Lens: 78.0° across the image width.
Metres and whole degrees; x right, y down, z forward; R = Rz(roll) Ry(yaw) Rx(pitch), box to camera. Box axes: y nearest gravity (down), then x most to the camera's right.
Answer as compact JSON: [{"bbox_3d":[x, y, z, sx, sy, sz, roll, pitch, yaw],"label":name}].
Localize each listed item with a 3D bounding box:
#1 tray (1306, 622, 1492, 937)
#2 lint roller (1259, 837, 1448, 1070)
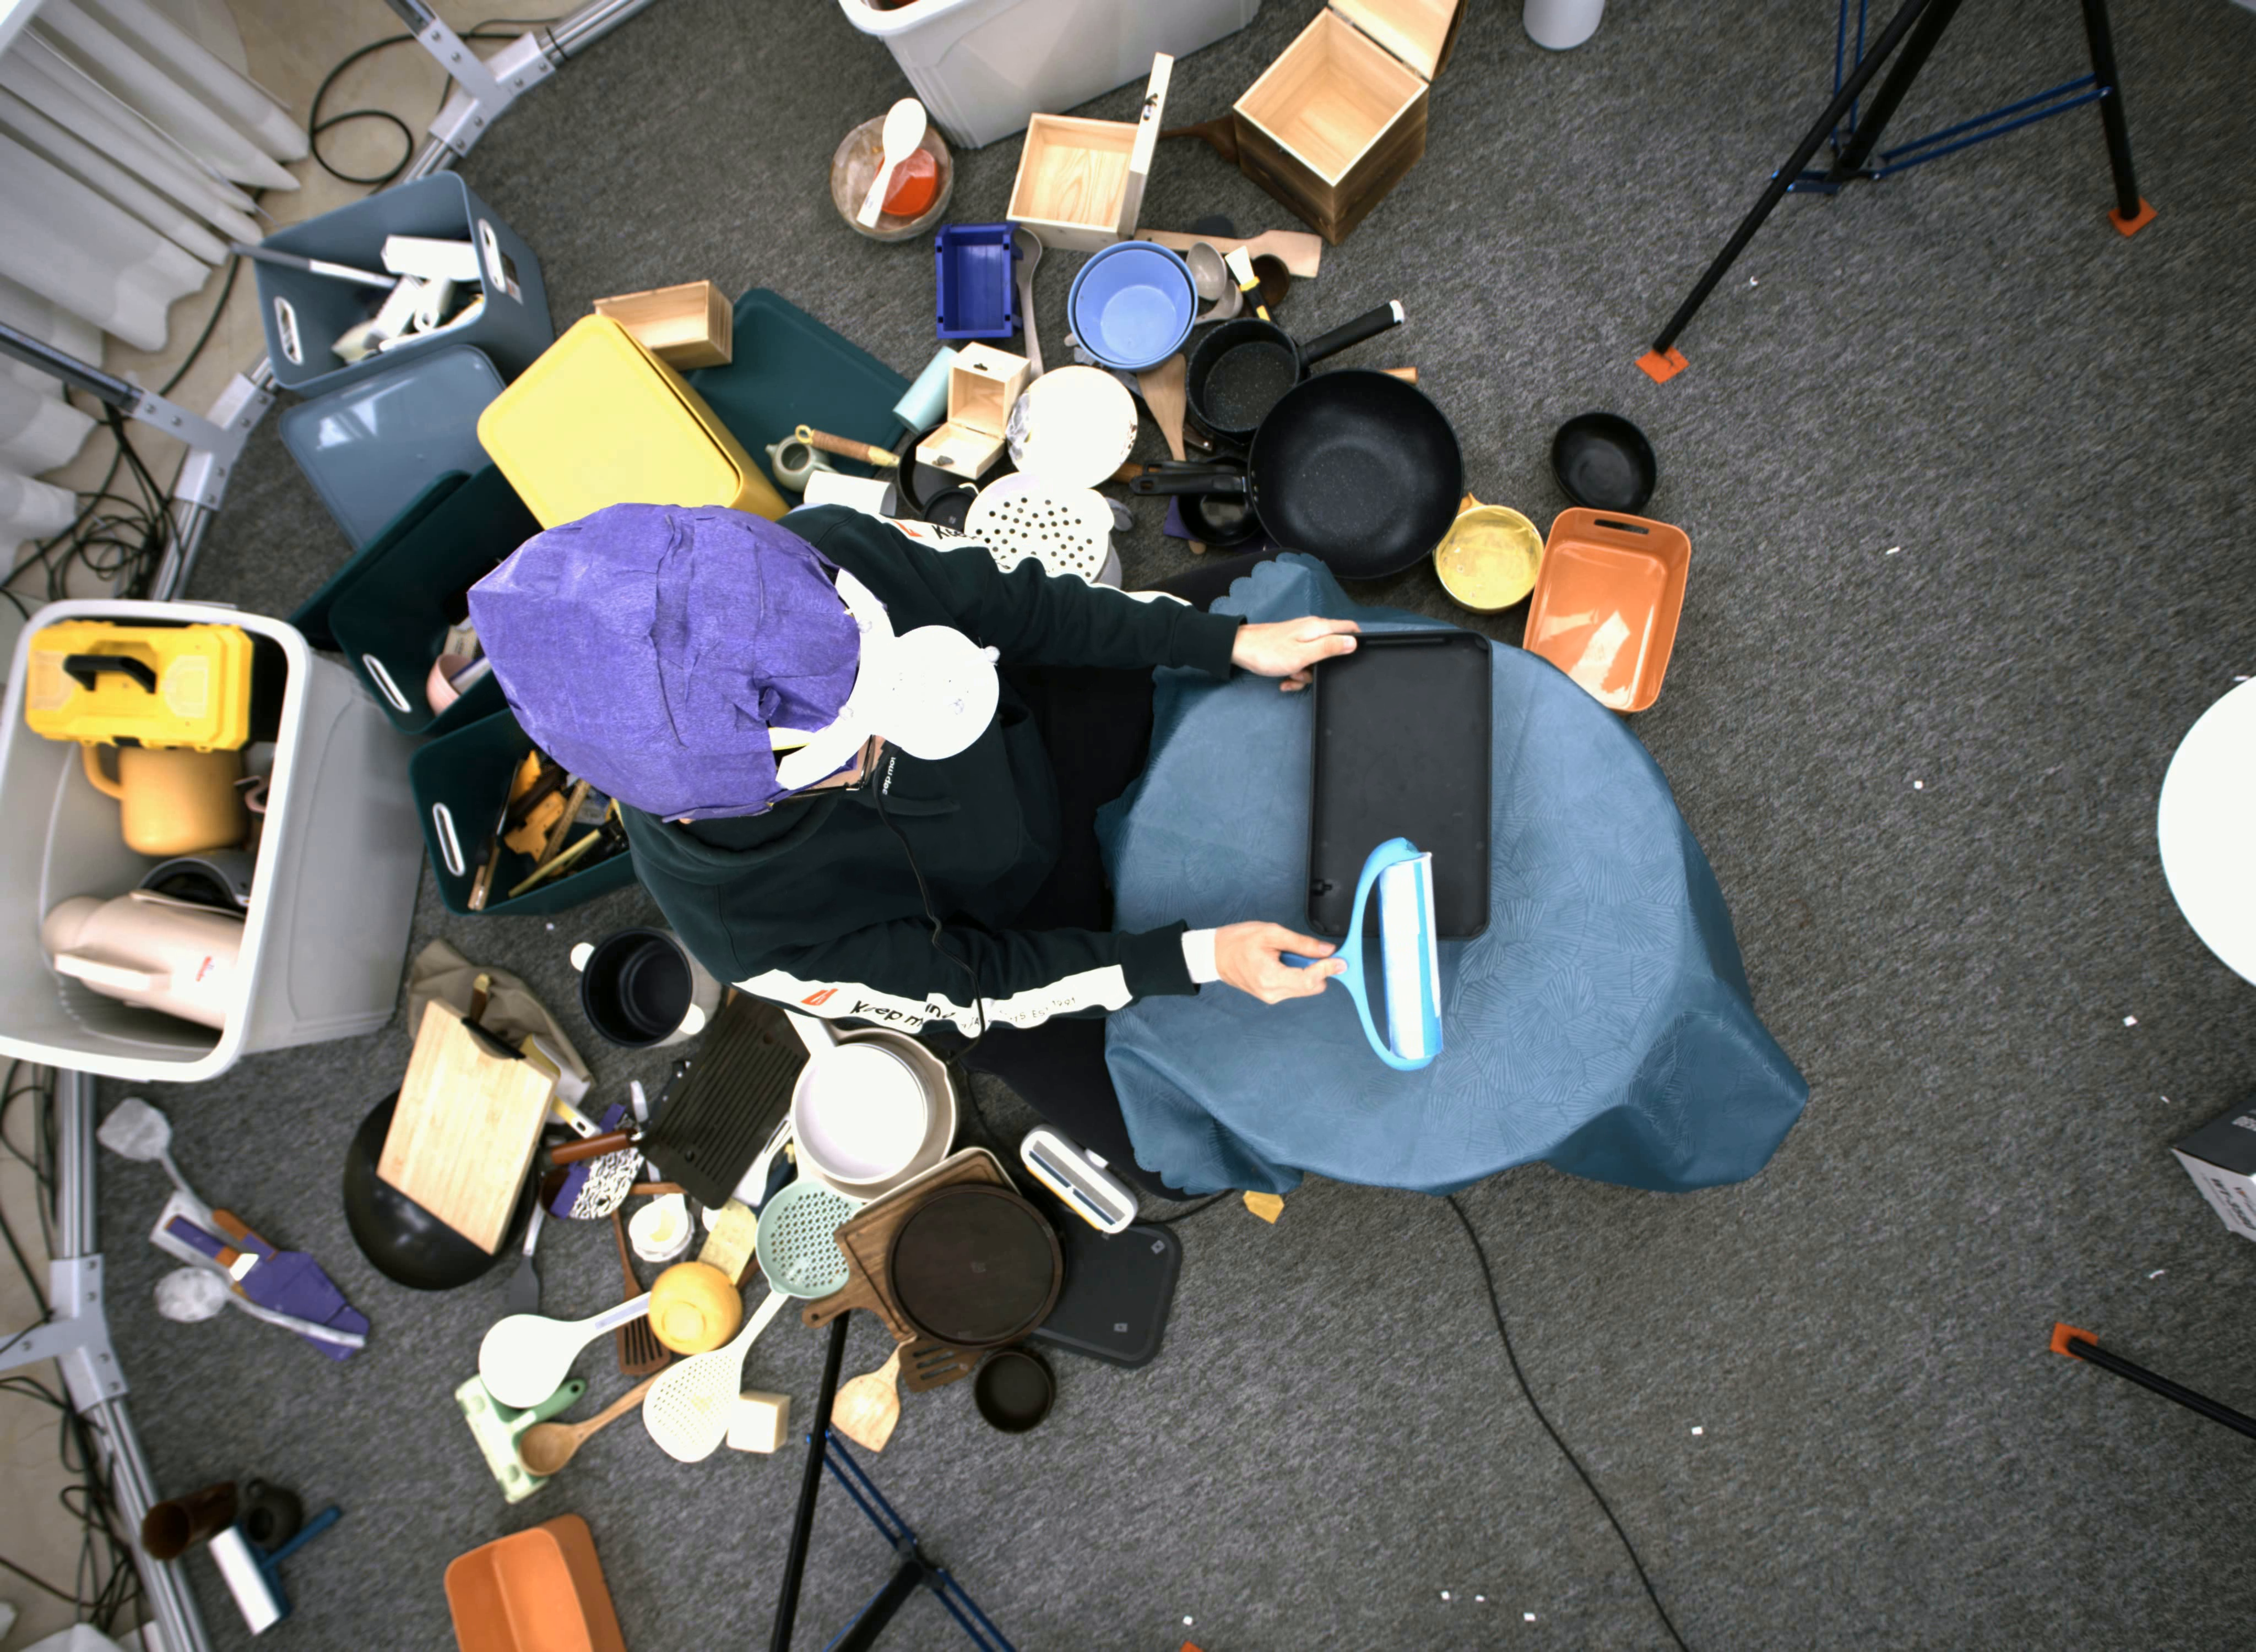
[{"bbox_3d":[0.276,-0.047,1.397,0.185,0.037,0.316,0,84,20],"label":"tray"},{"bbox_3d":[0.215,0.130,1.341,0.181,0.067,0.231,-7,102,11],"label":"lint roller"}]
